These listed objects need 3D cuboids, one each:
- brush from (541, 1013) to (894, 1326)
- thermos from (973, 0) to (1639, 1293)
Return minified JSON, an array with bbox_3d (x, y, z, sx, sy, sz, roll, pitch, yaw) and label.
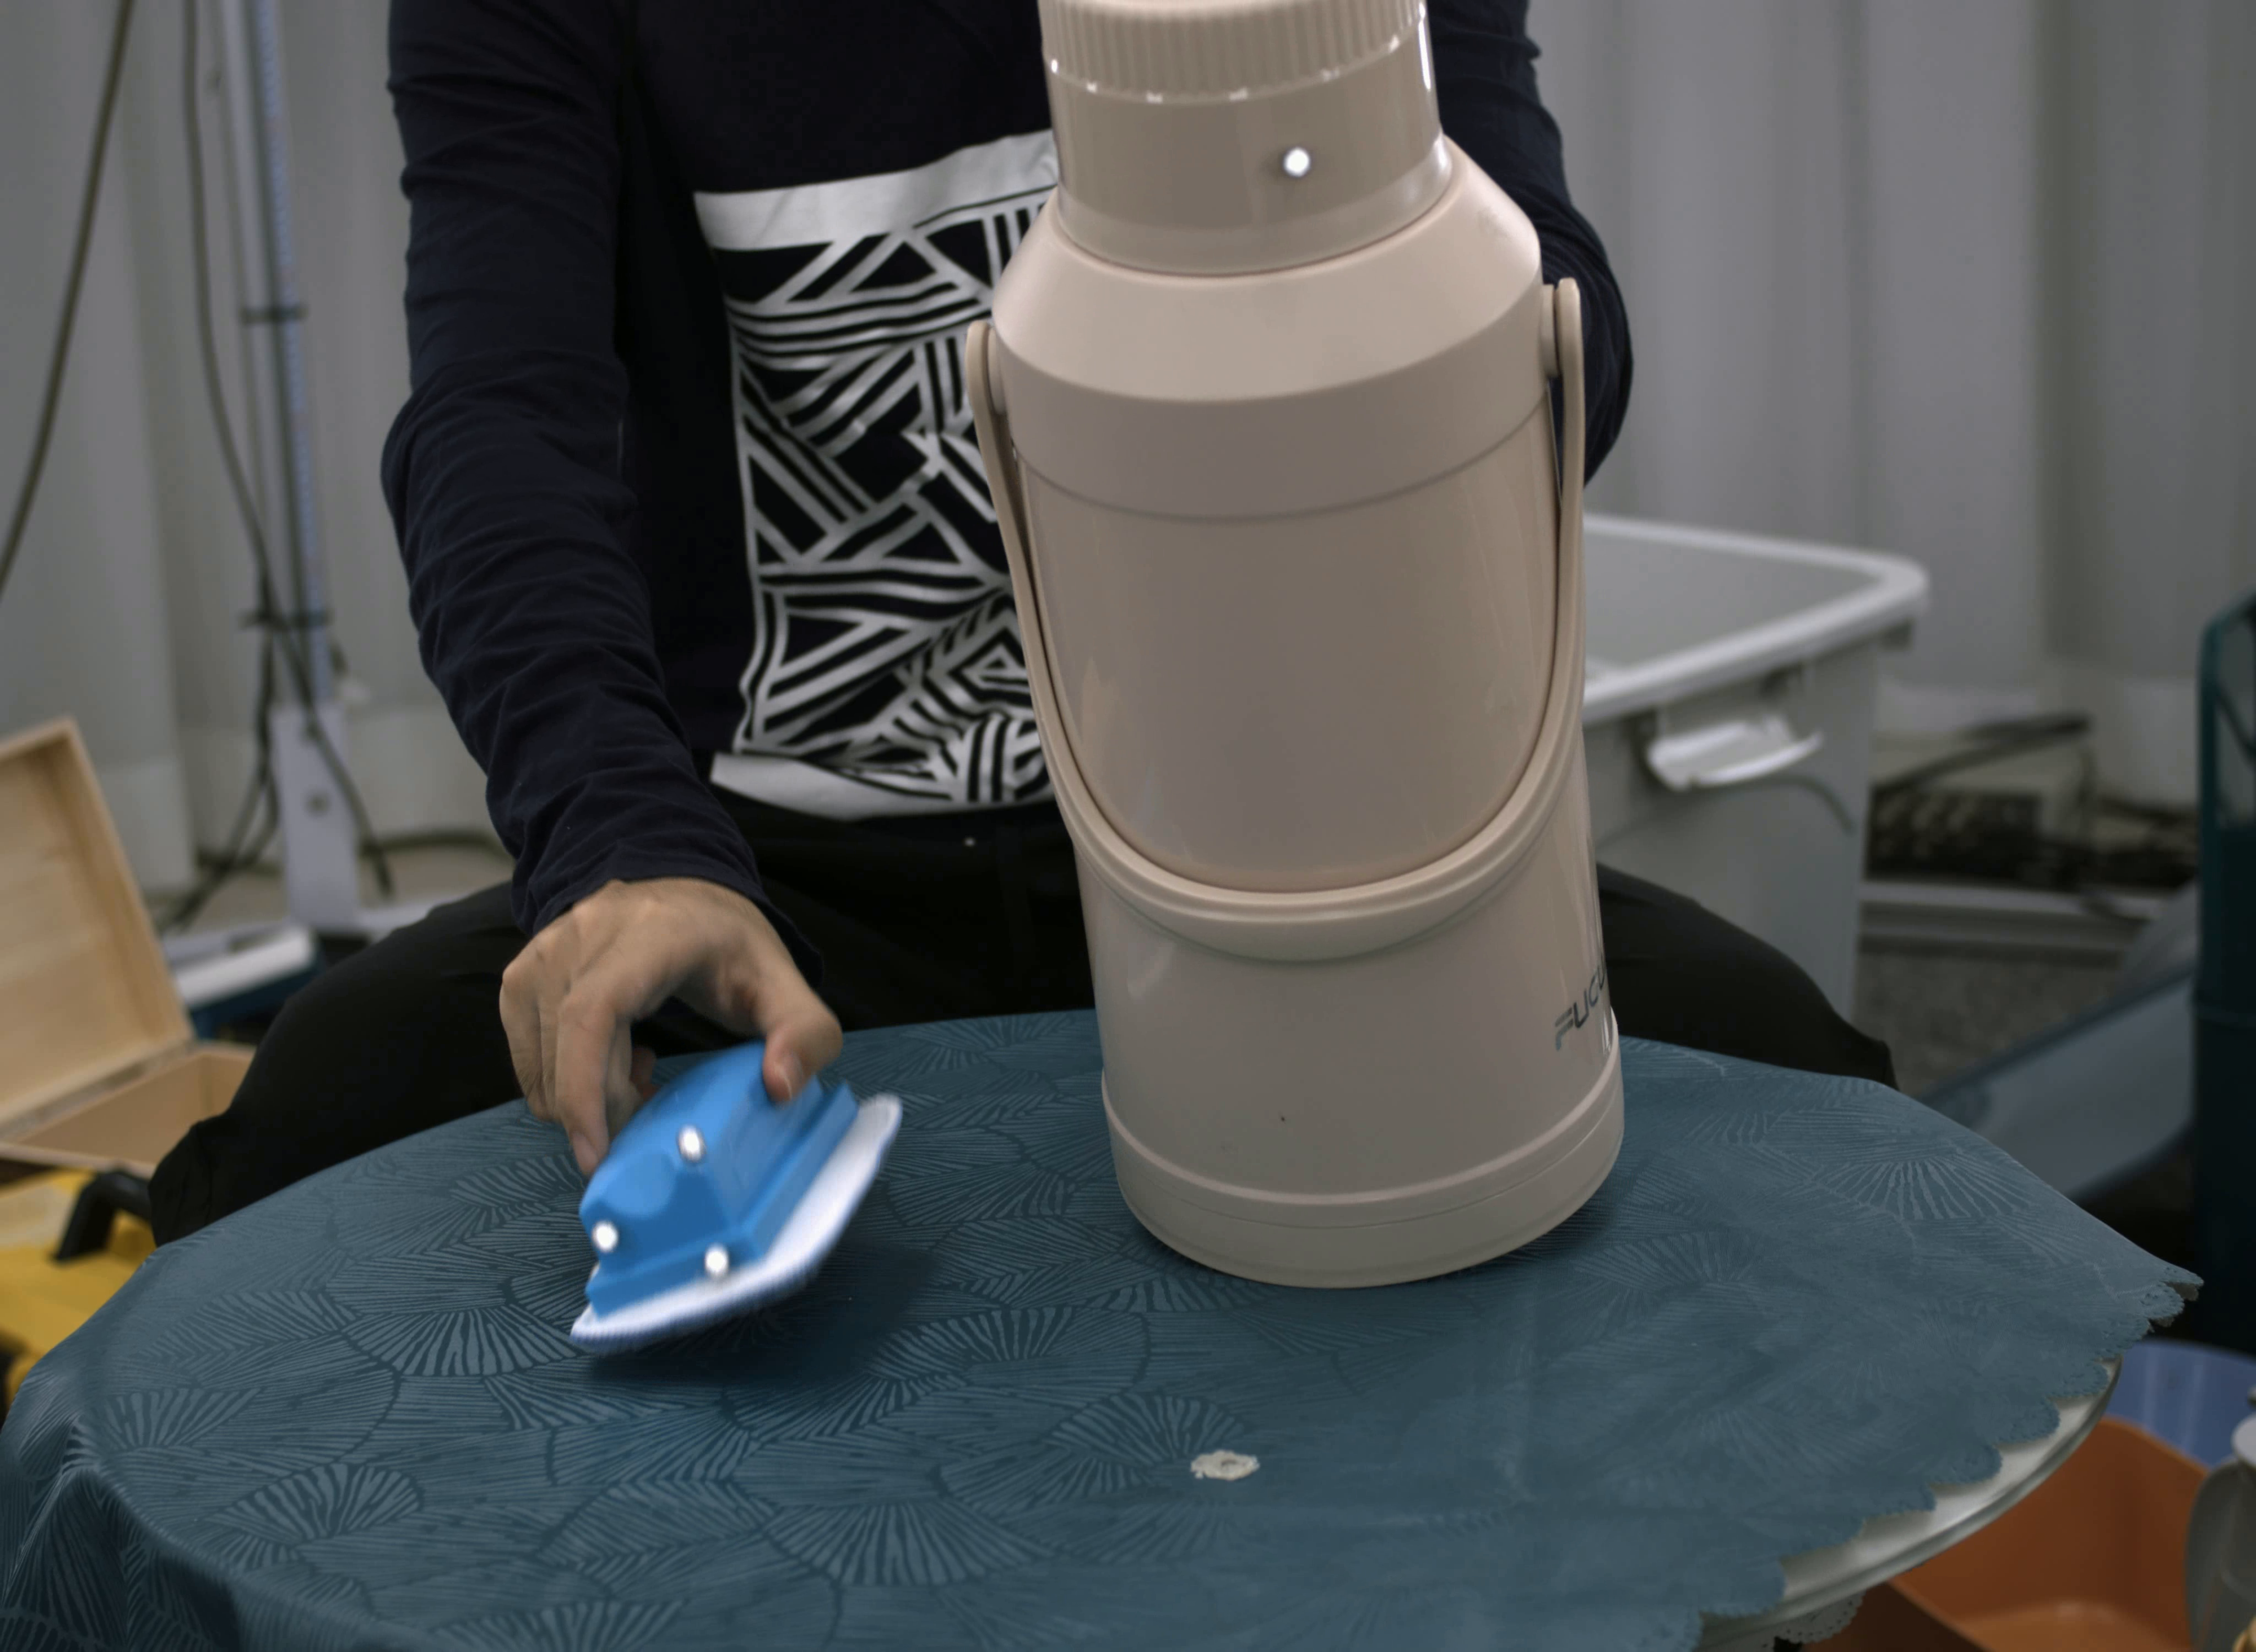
[{"bbox_3d":[-0.125,0.099,1.626,0.083,0.055,0.145,-15,18,17],"label":"brush"},{"bbox_3d":[0.056,-0.080,1.602,0.175,0.402,0.209,-5,28,8],"label":"thermos"}]
